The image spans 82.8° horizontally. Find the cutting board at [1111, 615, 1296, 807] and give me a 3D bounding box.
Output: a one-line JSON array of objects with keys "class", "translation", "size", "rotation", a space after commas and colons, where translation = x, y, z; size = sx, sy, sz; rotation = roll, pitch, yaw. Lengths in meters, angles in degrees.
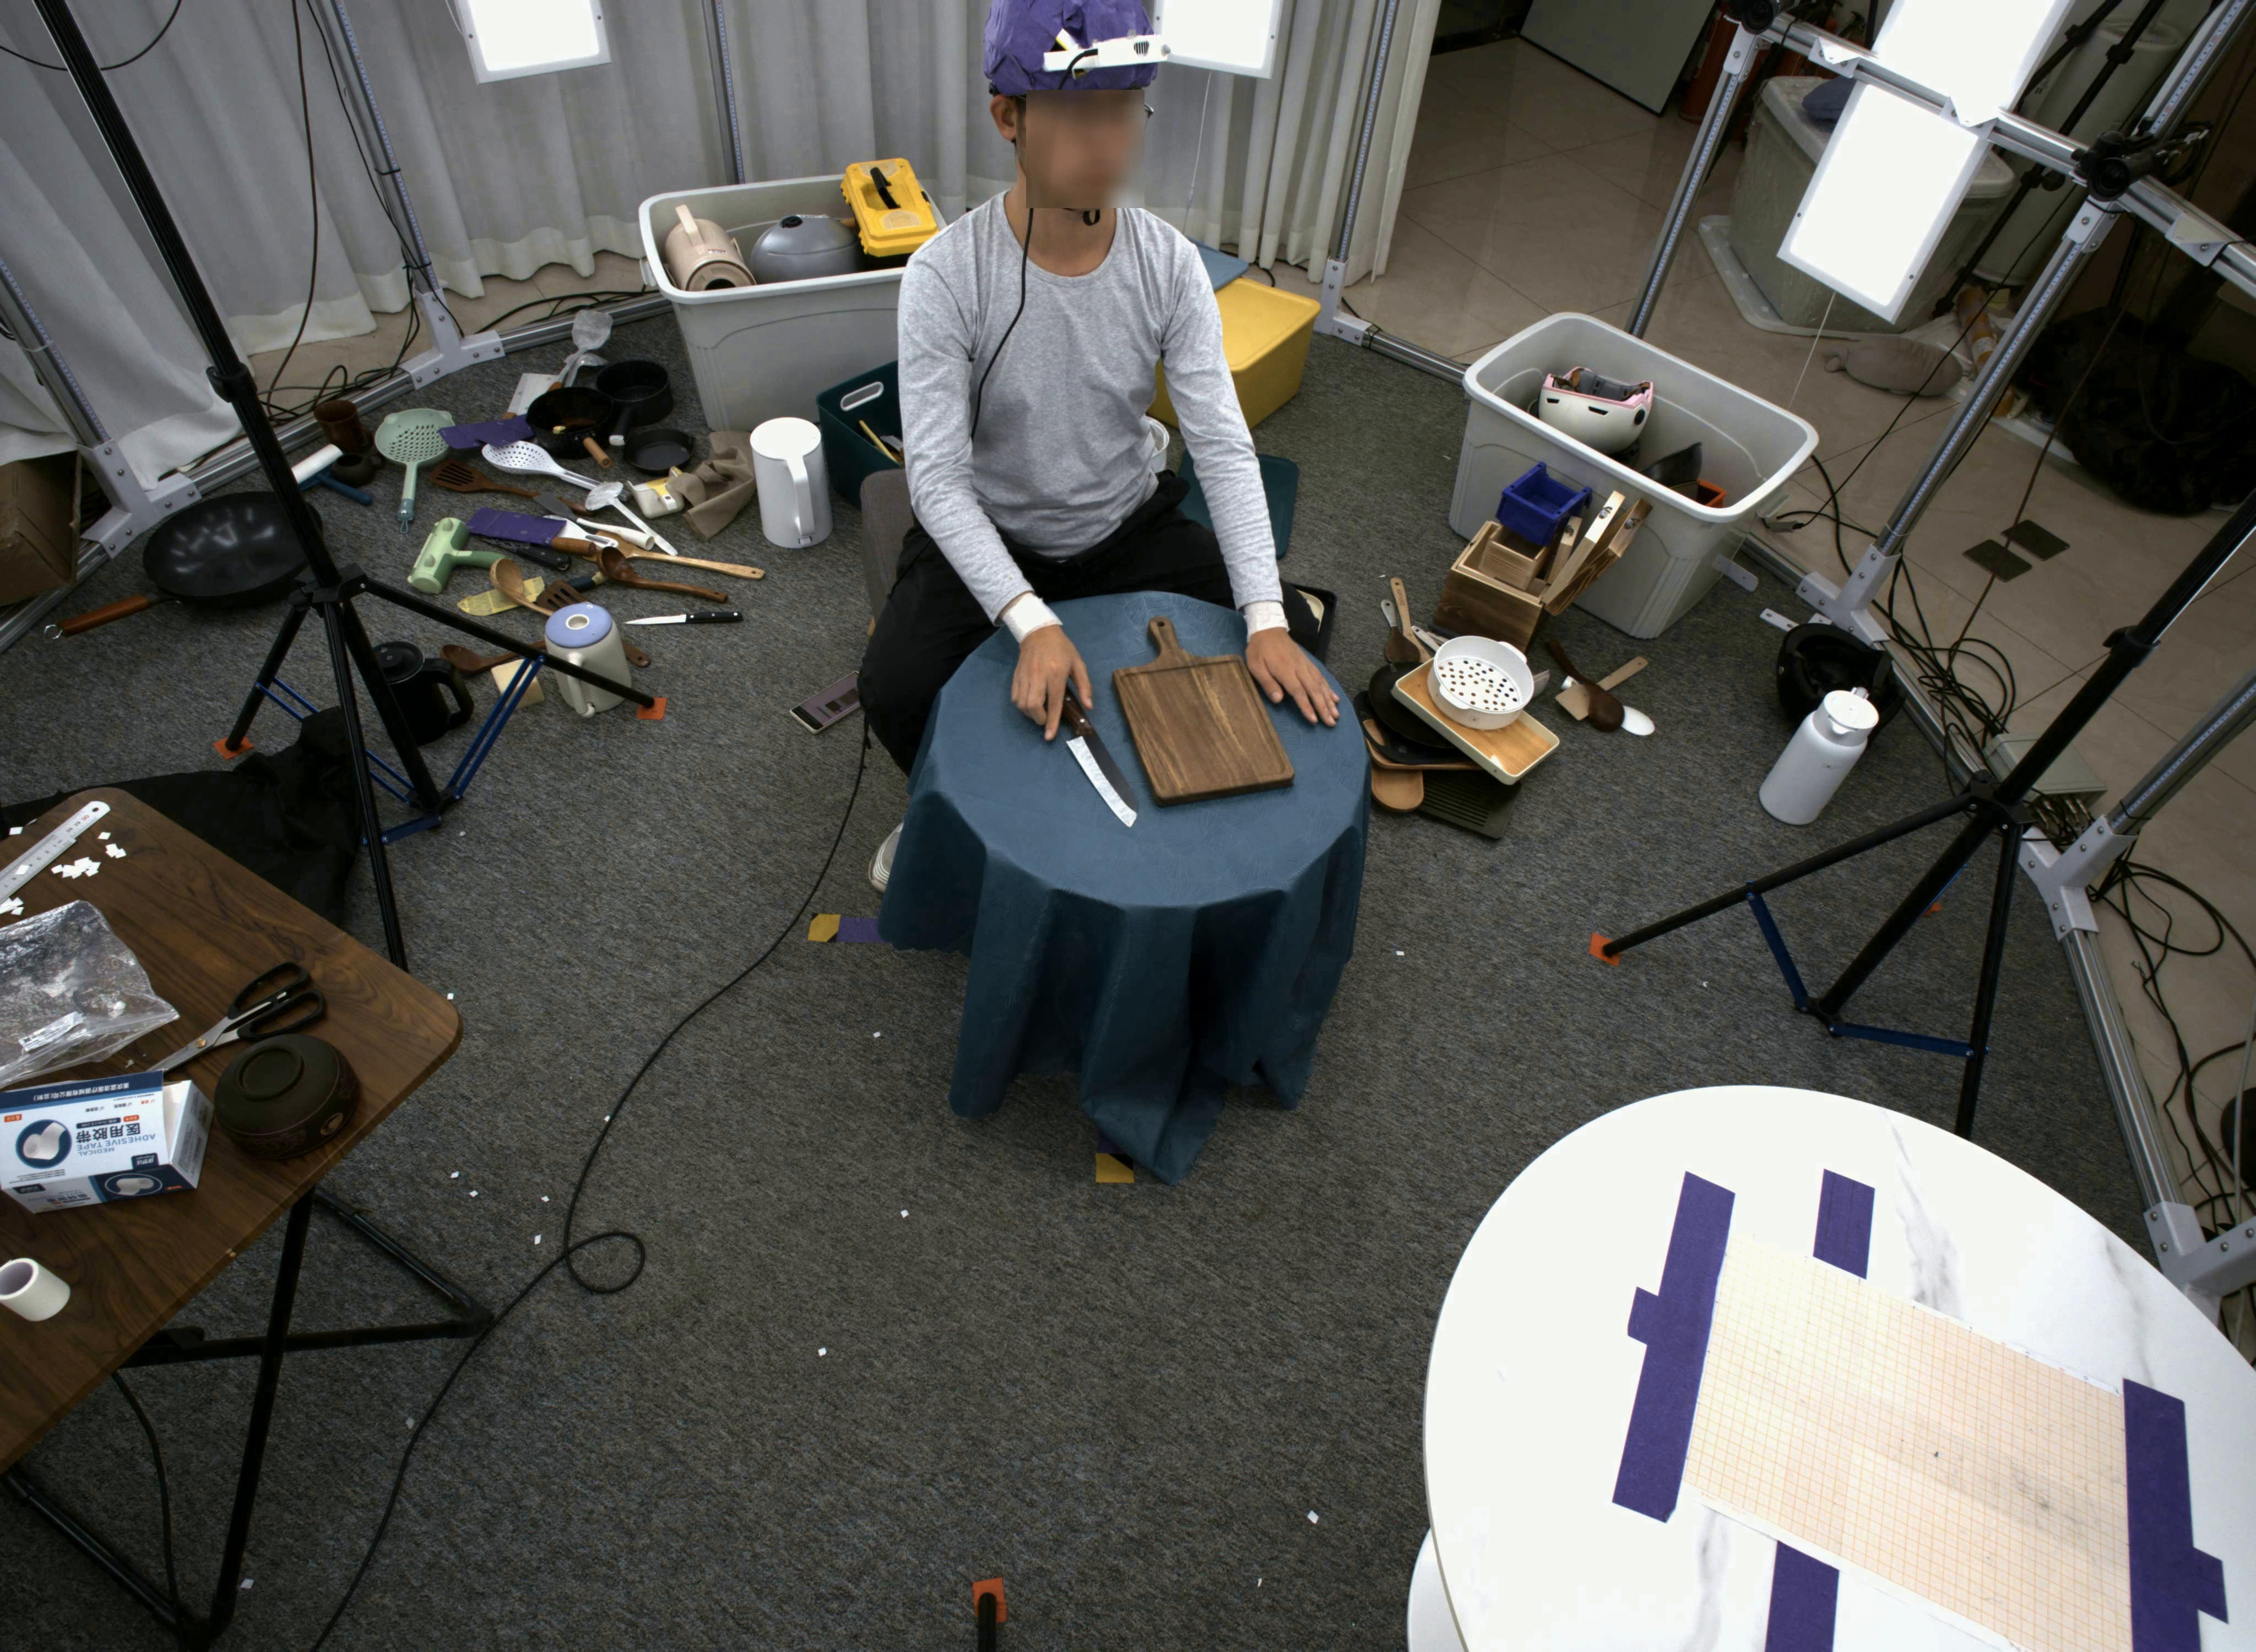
[{"class": "cutting board", "translation": [0.089, -0.177, 1.814], "size": [0.201, 0.022, 0.361], "rotation": [-9, 50, -12]}]

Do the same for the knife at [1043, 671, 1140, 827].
[{"class": "knife", "translation": [-0.052, -0.108, 1.747], "size": [0.050, 0.019, 0.295], "rotation": [-18, 55, -15]}]
